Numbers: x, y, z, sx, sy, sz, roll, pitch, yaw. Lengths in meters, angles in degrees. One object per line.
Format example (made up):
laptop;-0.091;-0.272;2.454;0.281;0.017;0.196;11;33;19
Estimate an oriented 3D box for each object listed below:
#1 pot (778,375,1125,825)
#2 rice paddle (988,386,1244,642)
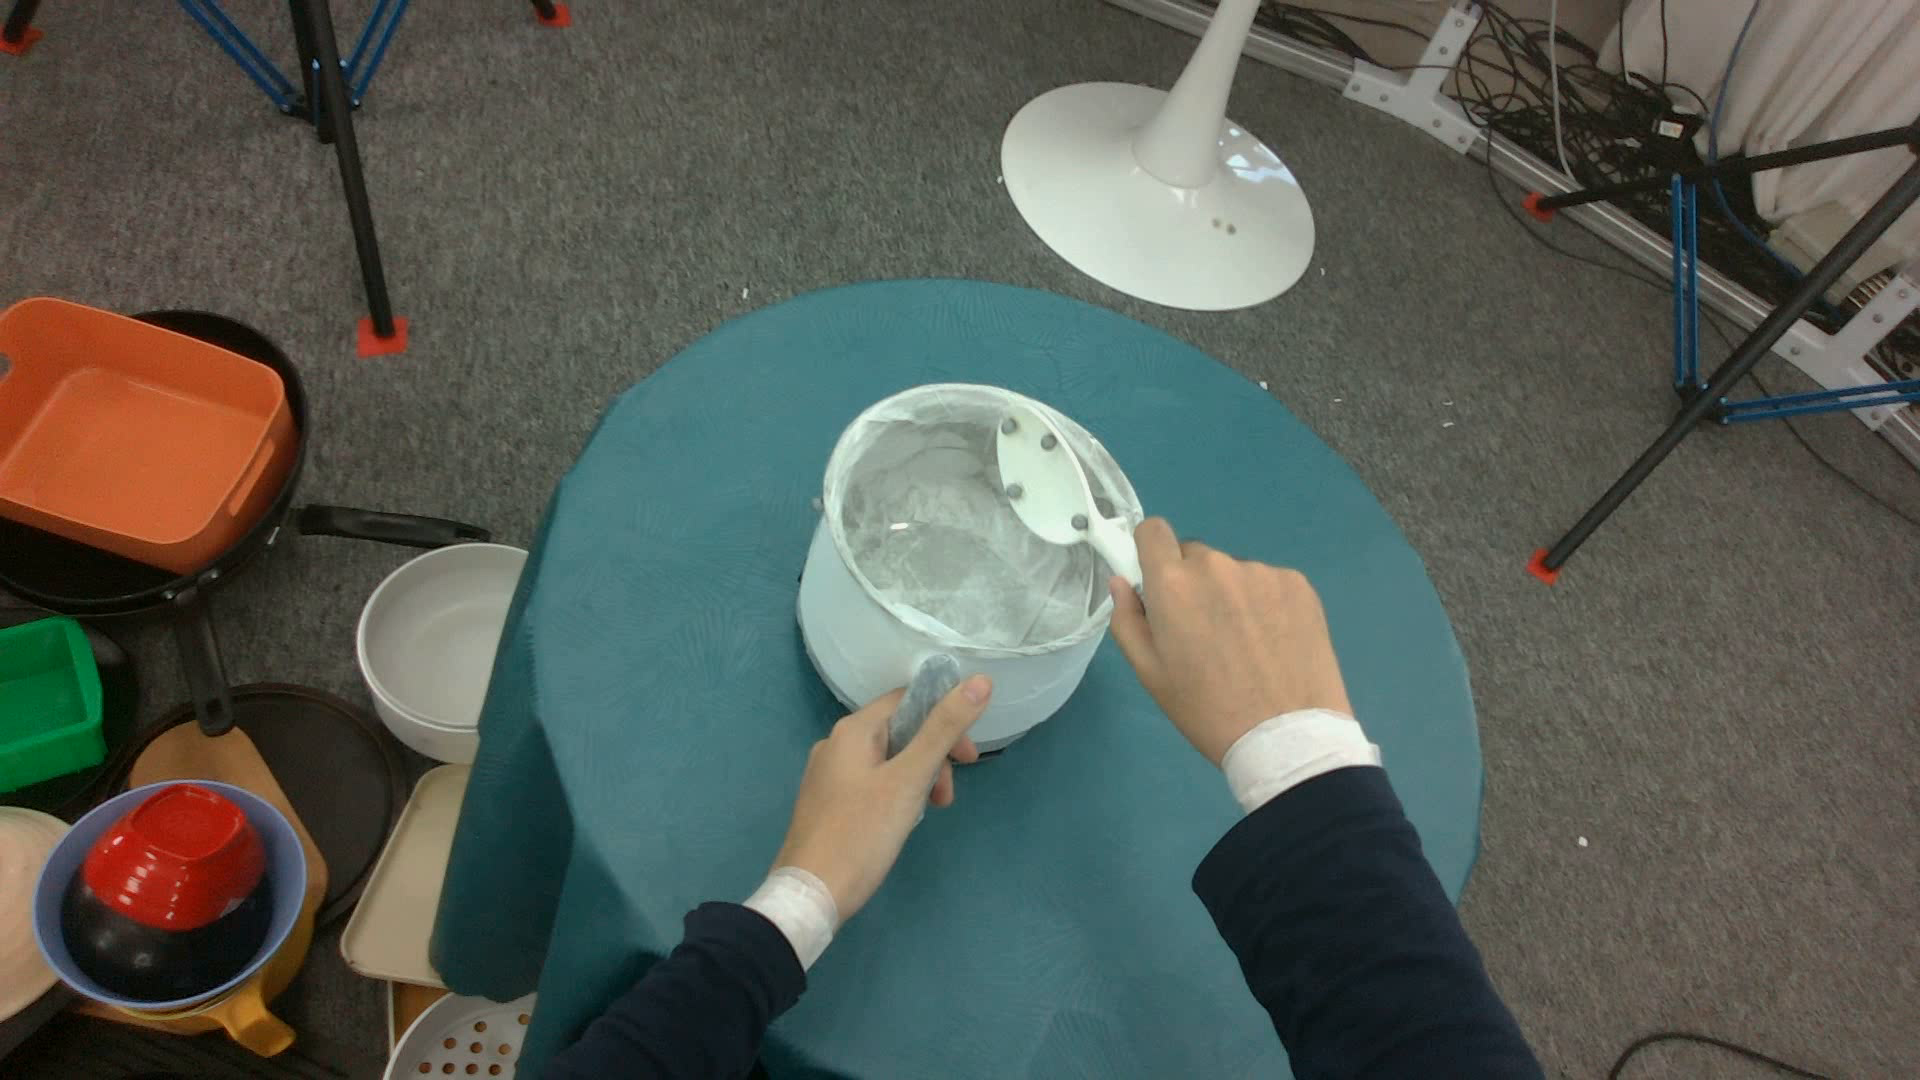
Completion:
pot;-0.016;0.037;0.766;0.179;0.136;0.235;17;54;-2
rice paddle;0.064;-0.016;0.680;0.029;0.068;0.205;-17;37;-24
